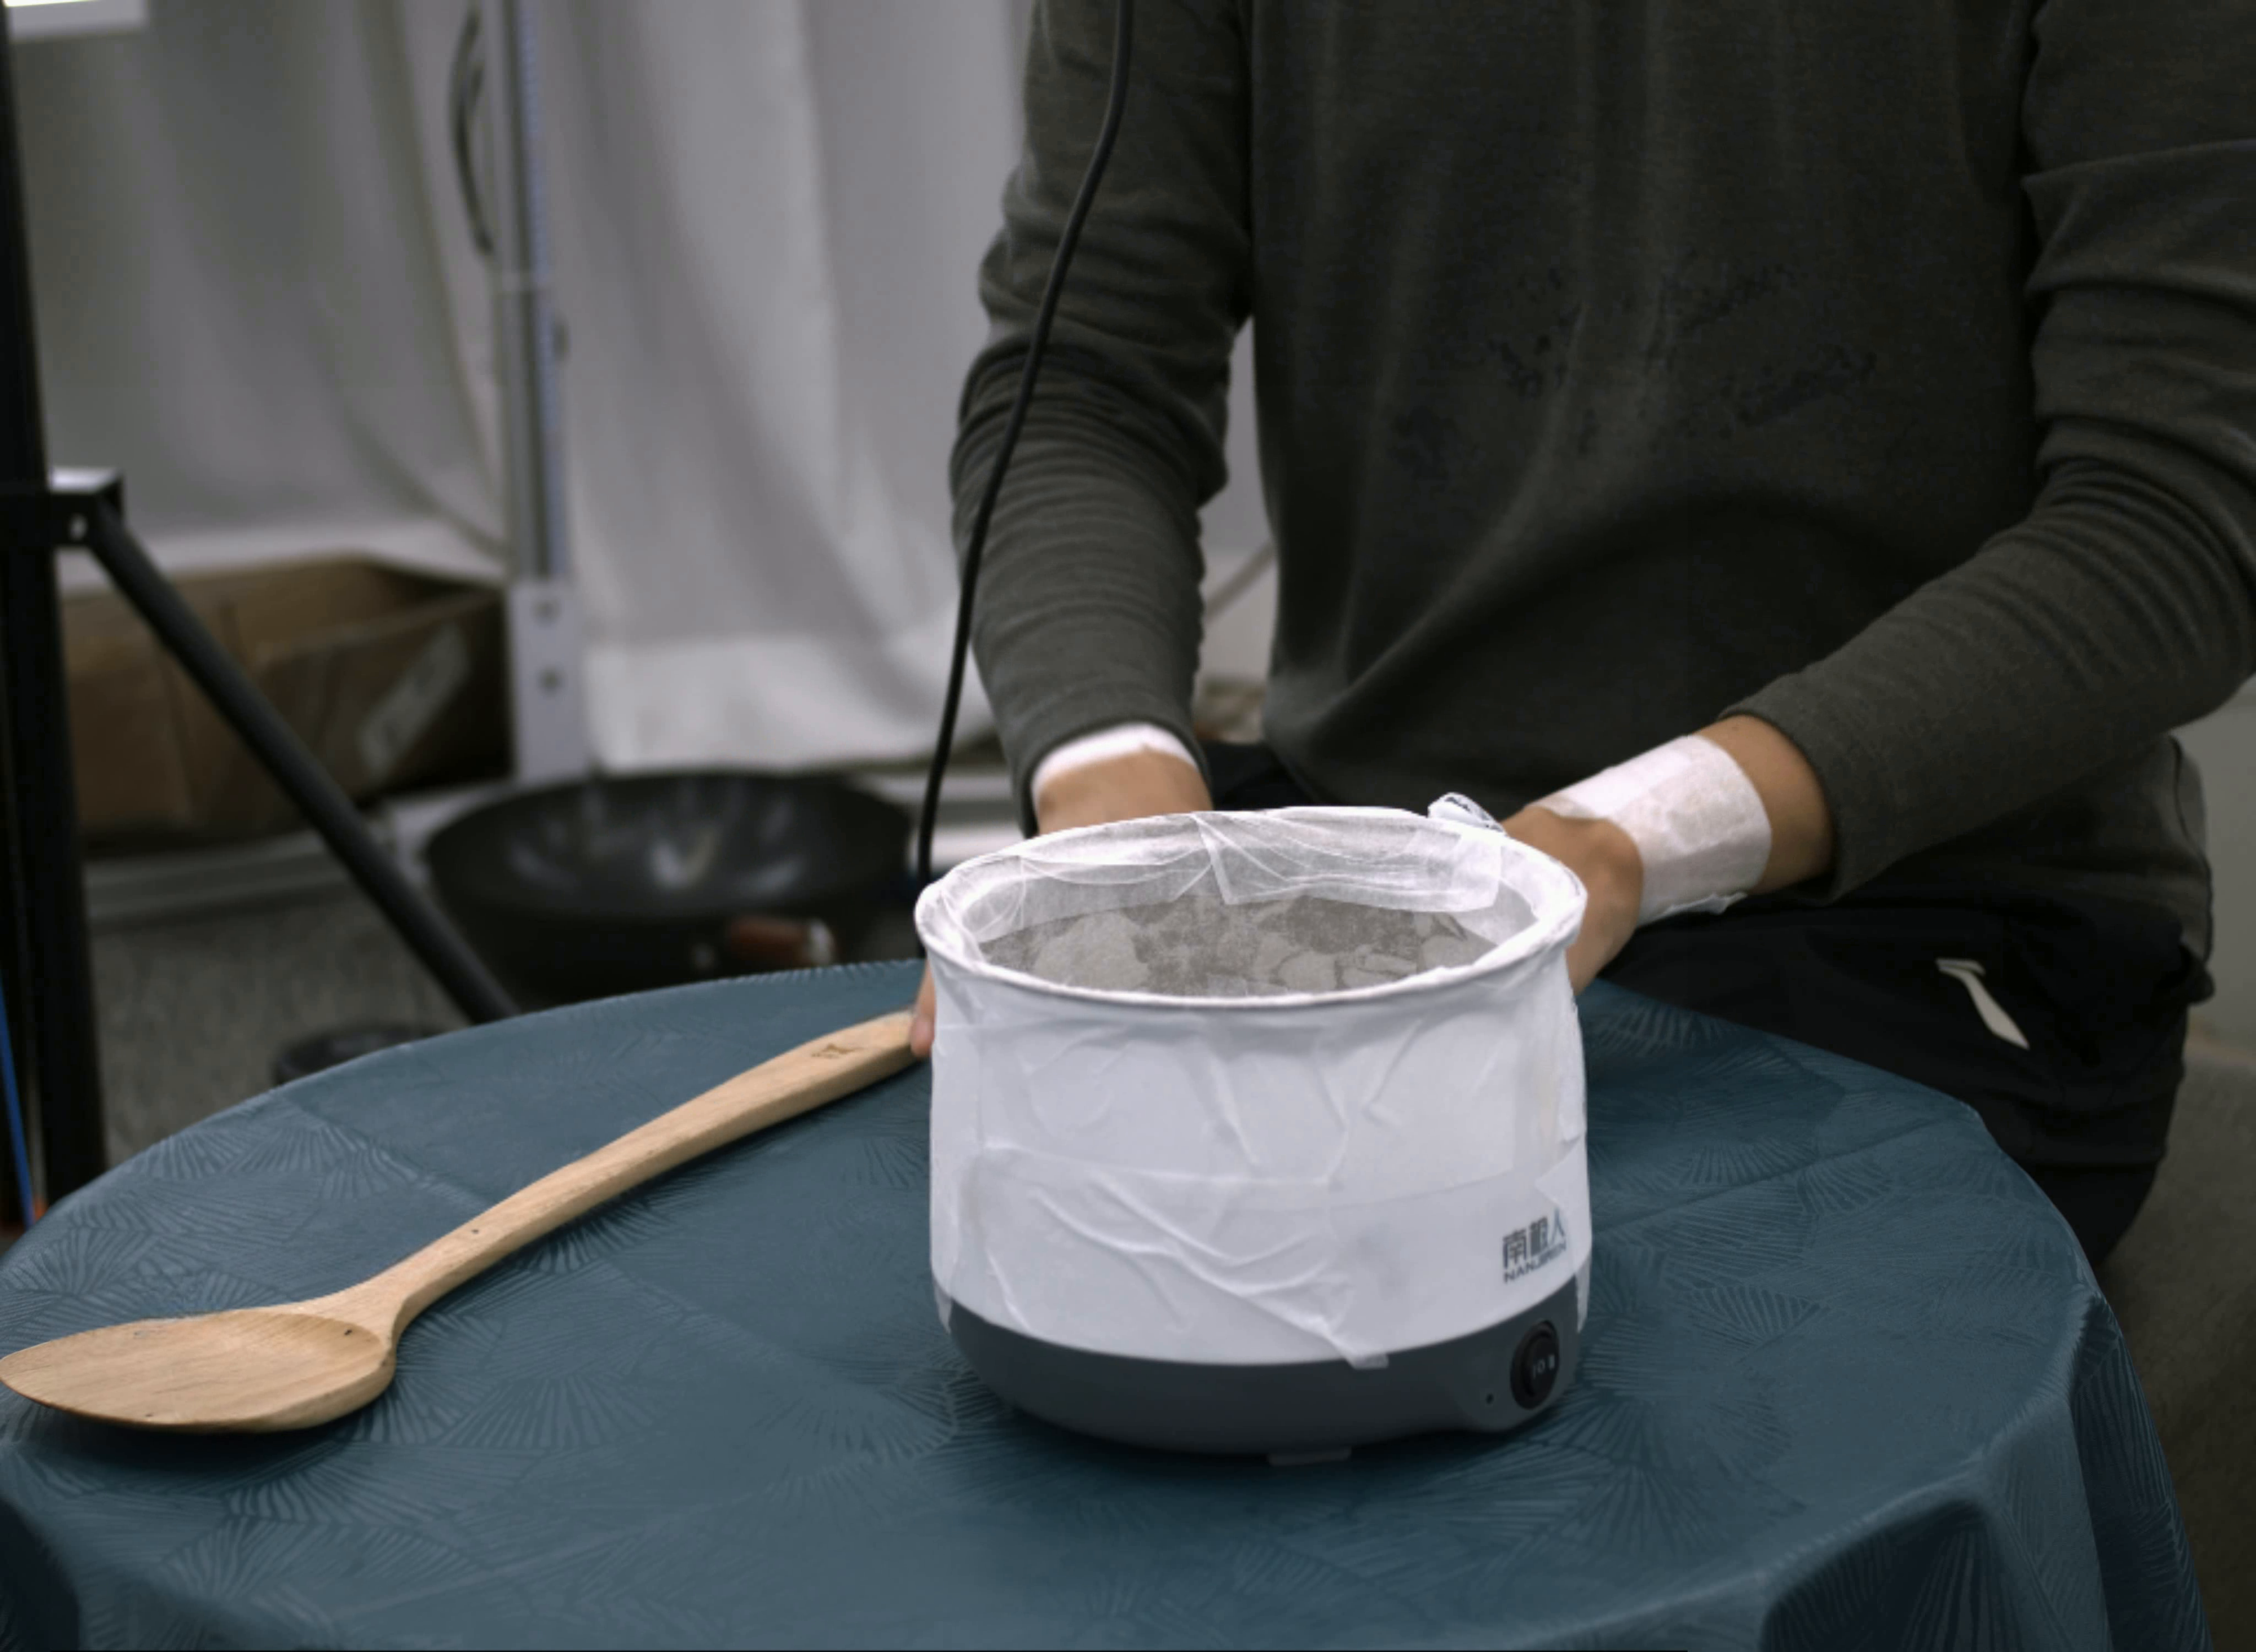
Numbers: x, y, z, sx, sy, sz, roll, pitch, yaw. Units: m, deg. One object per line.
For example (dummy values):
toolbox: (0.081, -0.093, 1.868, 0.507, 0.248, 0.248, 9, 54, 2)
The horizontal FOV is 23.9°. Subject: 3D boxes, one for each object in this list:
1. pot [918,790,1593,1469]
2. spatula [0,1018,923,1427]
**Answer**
pot: (0.051, 0.073, 1.424, 0.182, 0.136, 0.229, 9, 19, 35)
spatula: (-0.174, 0.109, 1.552, 0.097, 0.018, 0.383, 9, 19, 30)
